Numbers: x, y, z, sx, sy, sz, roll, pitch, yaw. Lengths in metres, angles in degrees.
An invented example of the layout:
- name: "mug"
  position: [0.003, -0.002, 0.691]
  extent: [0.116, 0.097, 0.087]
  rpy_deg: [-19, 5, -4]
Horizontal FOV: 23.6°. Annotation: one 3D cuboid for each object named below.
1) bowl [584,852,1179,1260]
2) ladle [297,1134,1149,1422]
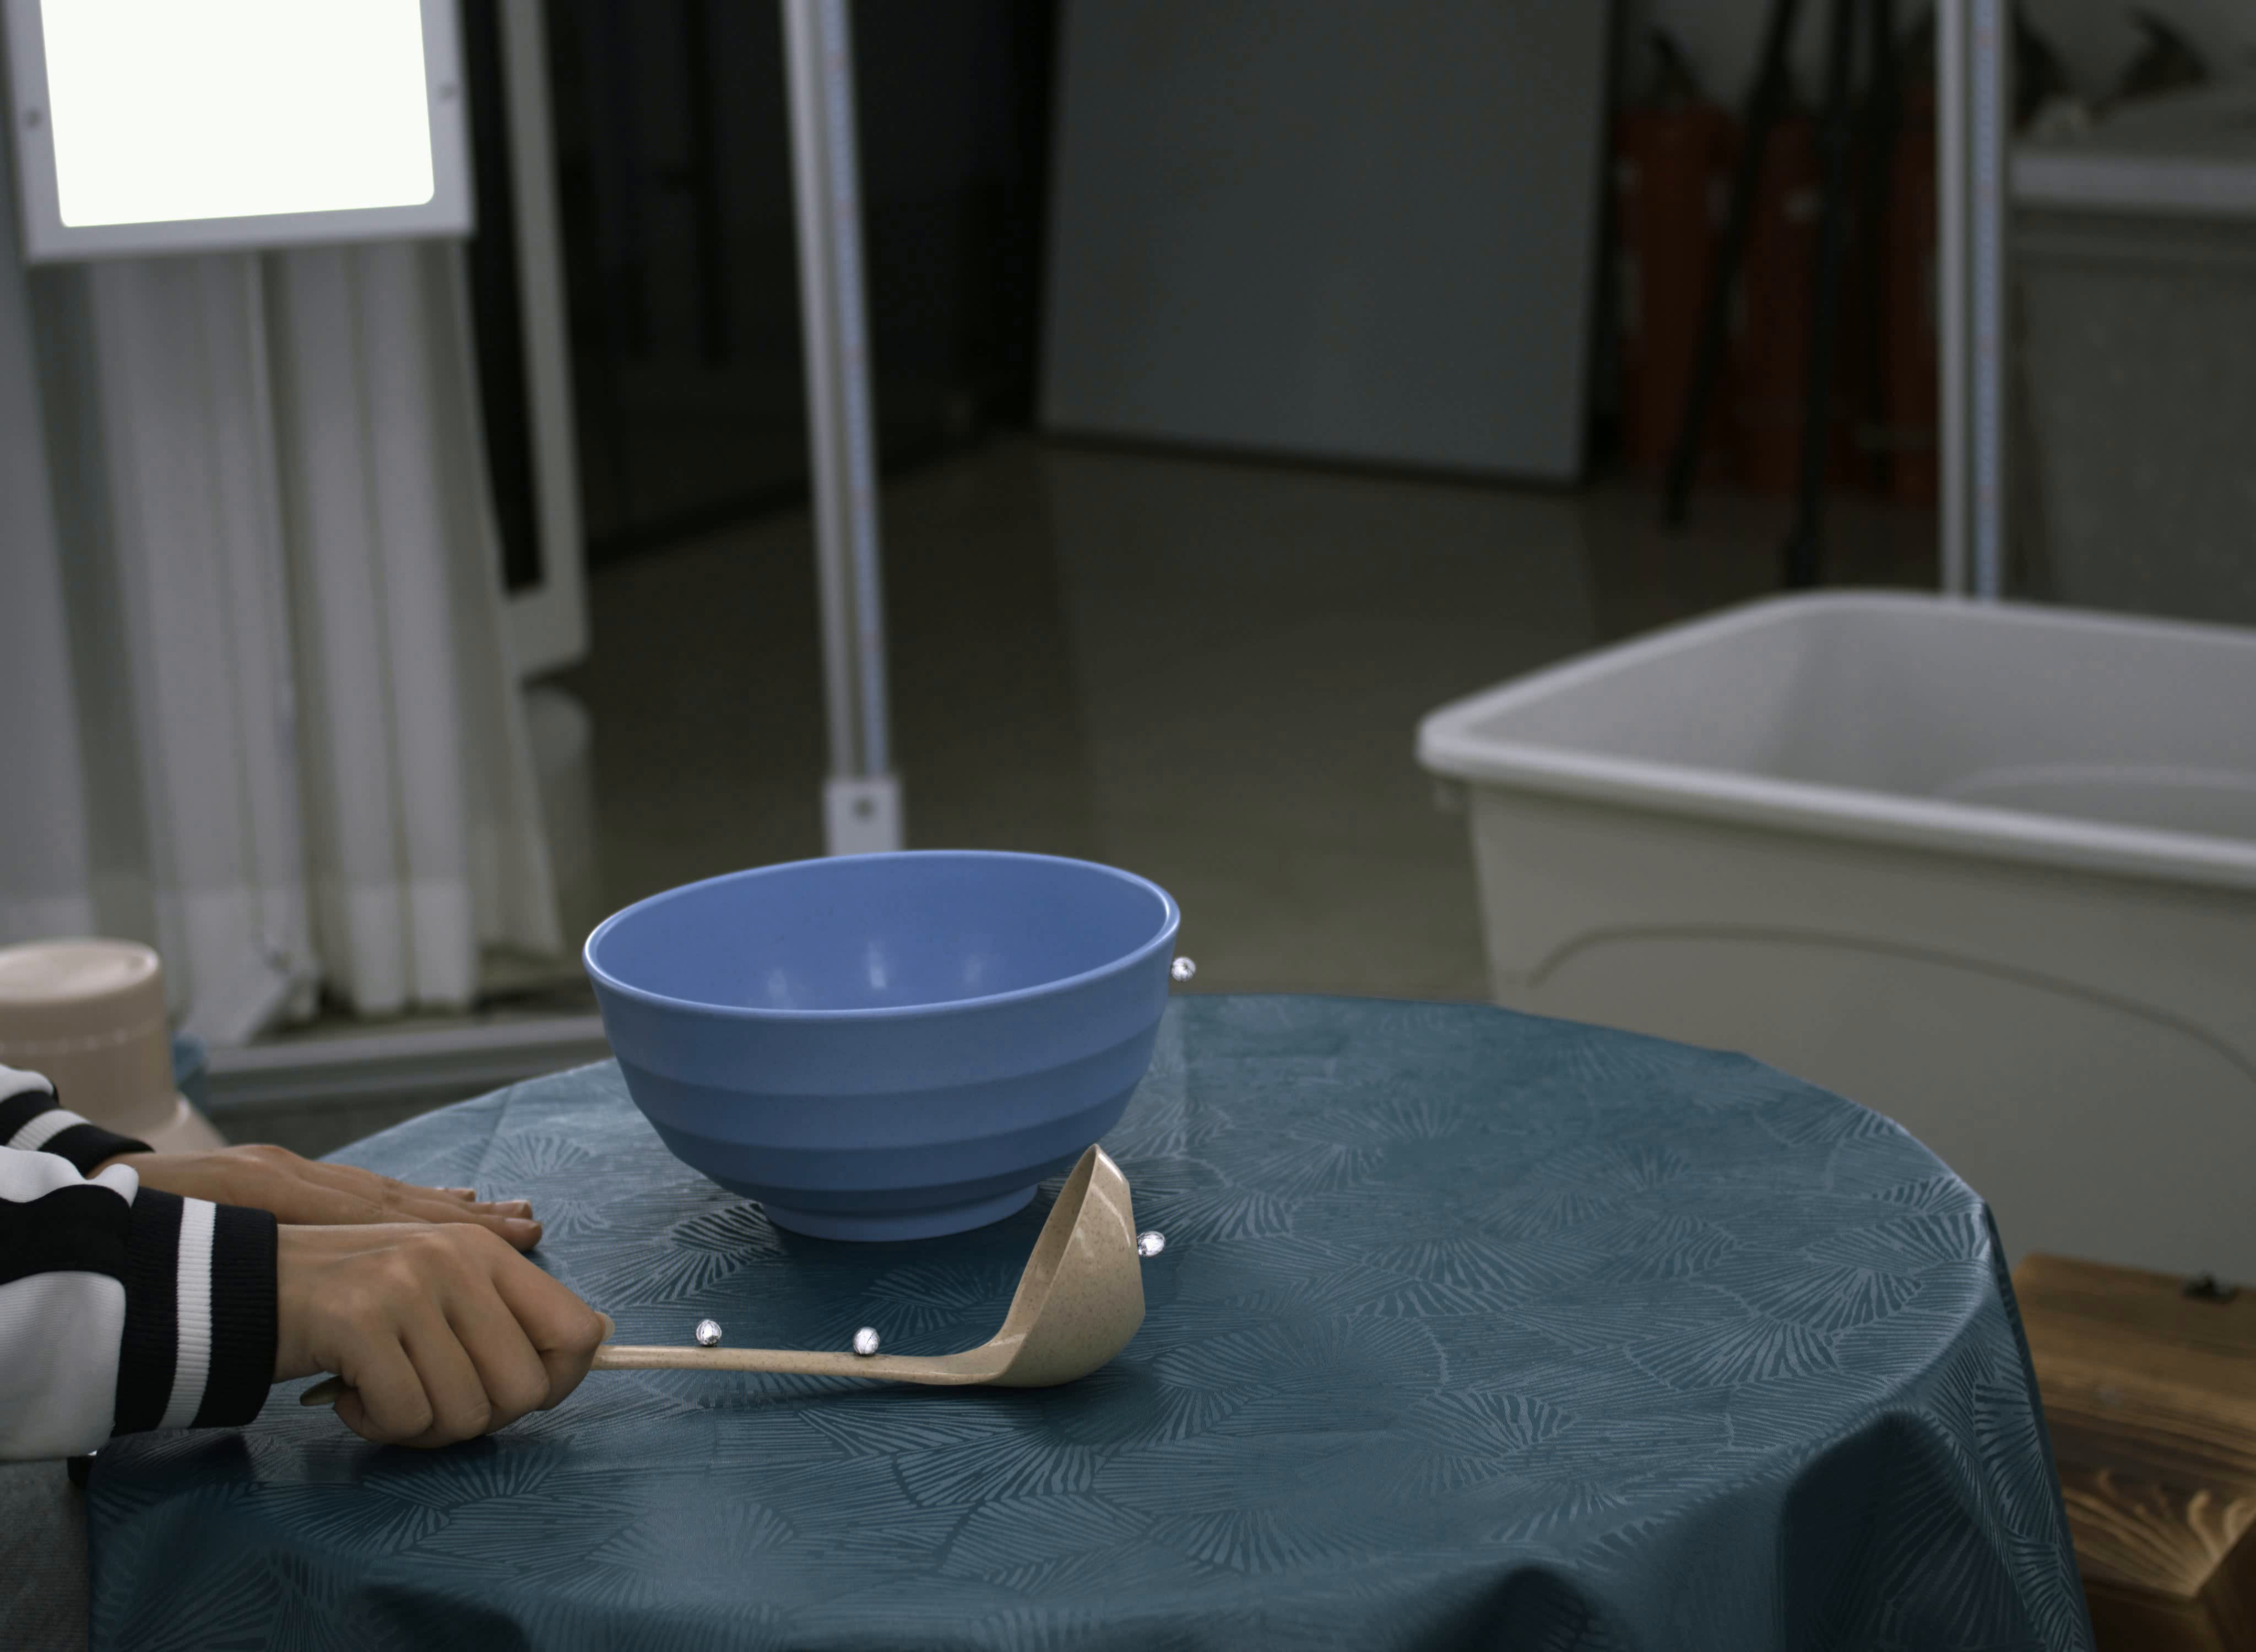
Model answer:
- name: "bowl"
  position: [-0.077, 0.082, 1.769]
  extent: [0.194, 0.096, 0.197]
  rpy_deg: [-5, 15, 0]
- name: "ladle"
  position: [-0.120, 0.133, 1.590]
  extent: [0.251, 0.073, 0.072]
  rpy_deg: [-2, 9, -2]
